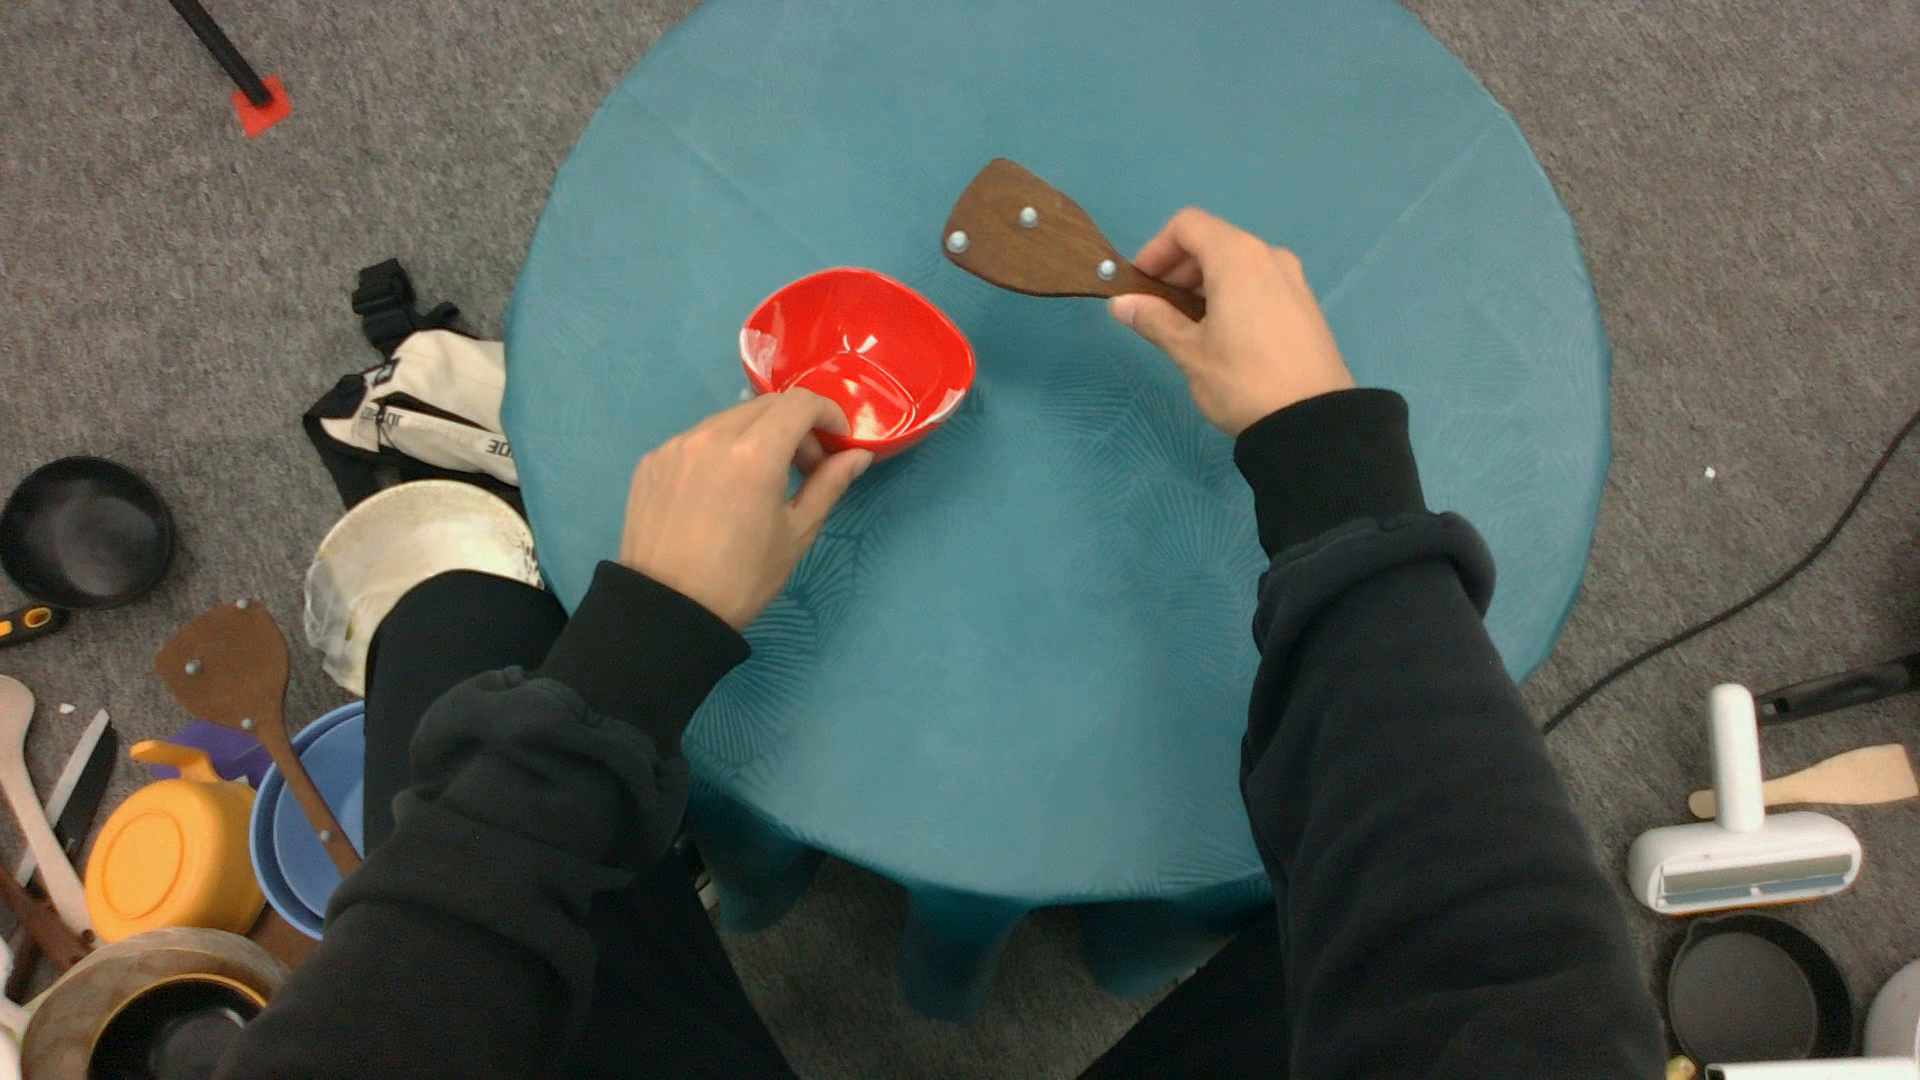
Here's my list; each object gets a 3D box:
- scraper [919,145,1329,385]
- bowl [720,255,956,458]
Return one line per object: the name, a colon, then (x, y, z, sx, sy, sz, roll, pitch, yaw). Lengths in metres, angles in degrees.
scraper: (0.083, -0.129, 0.678, 0.211, 0.011, 0.076, 26, 62, 5)
bowl: (-0.065, -0.086, 0.704, 0.119, 0.051, 0.119, 9, 52, -11)
